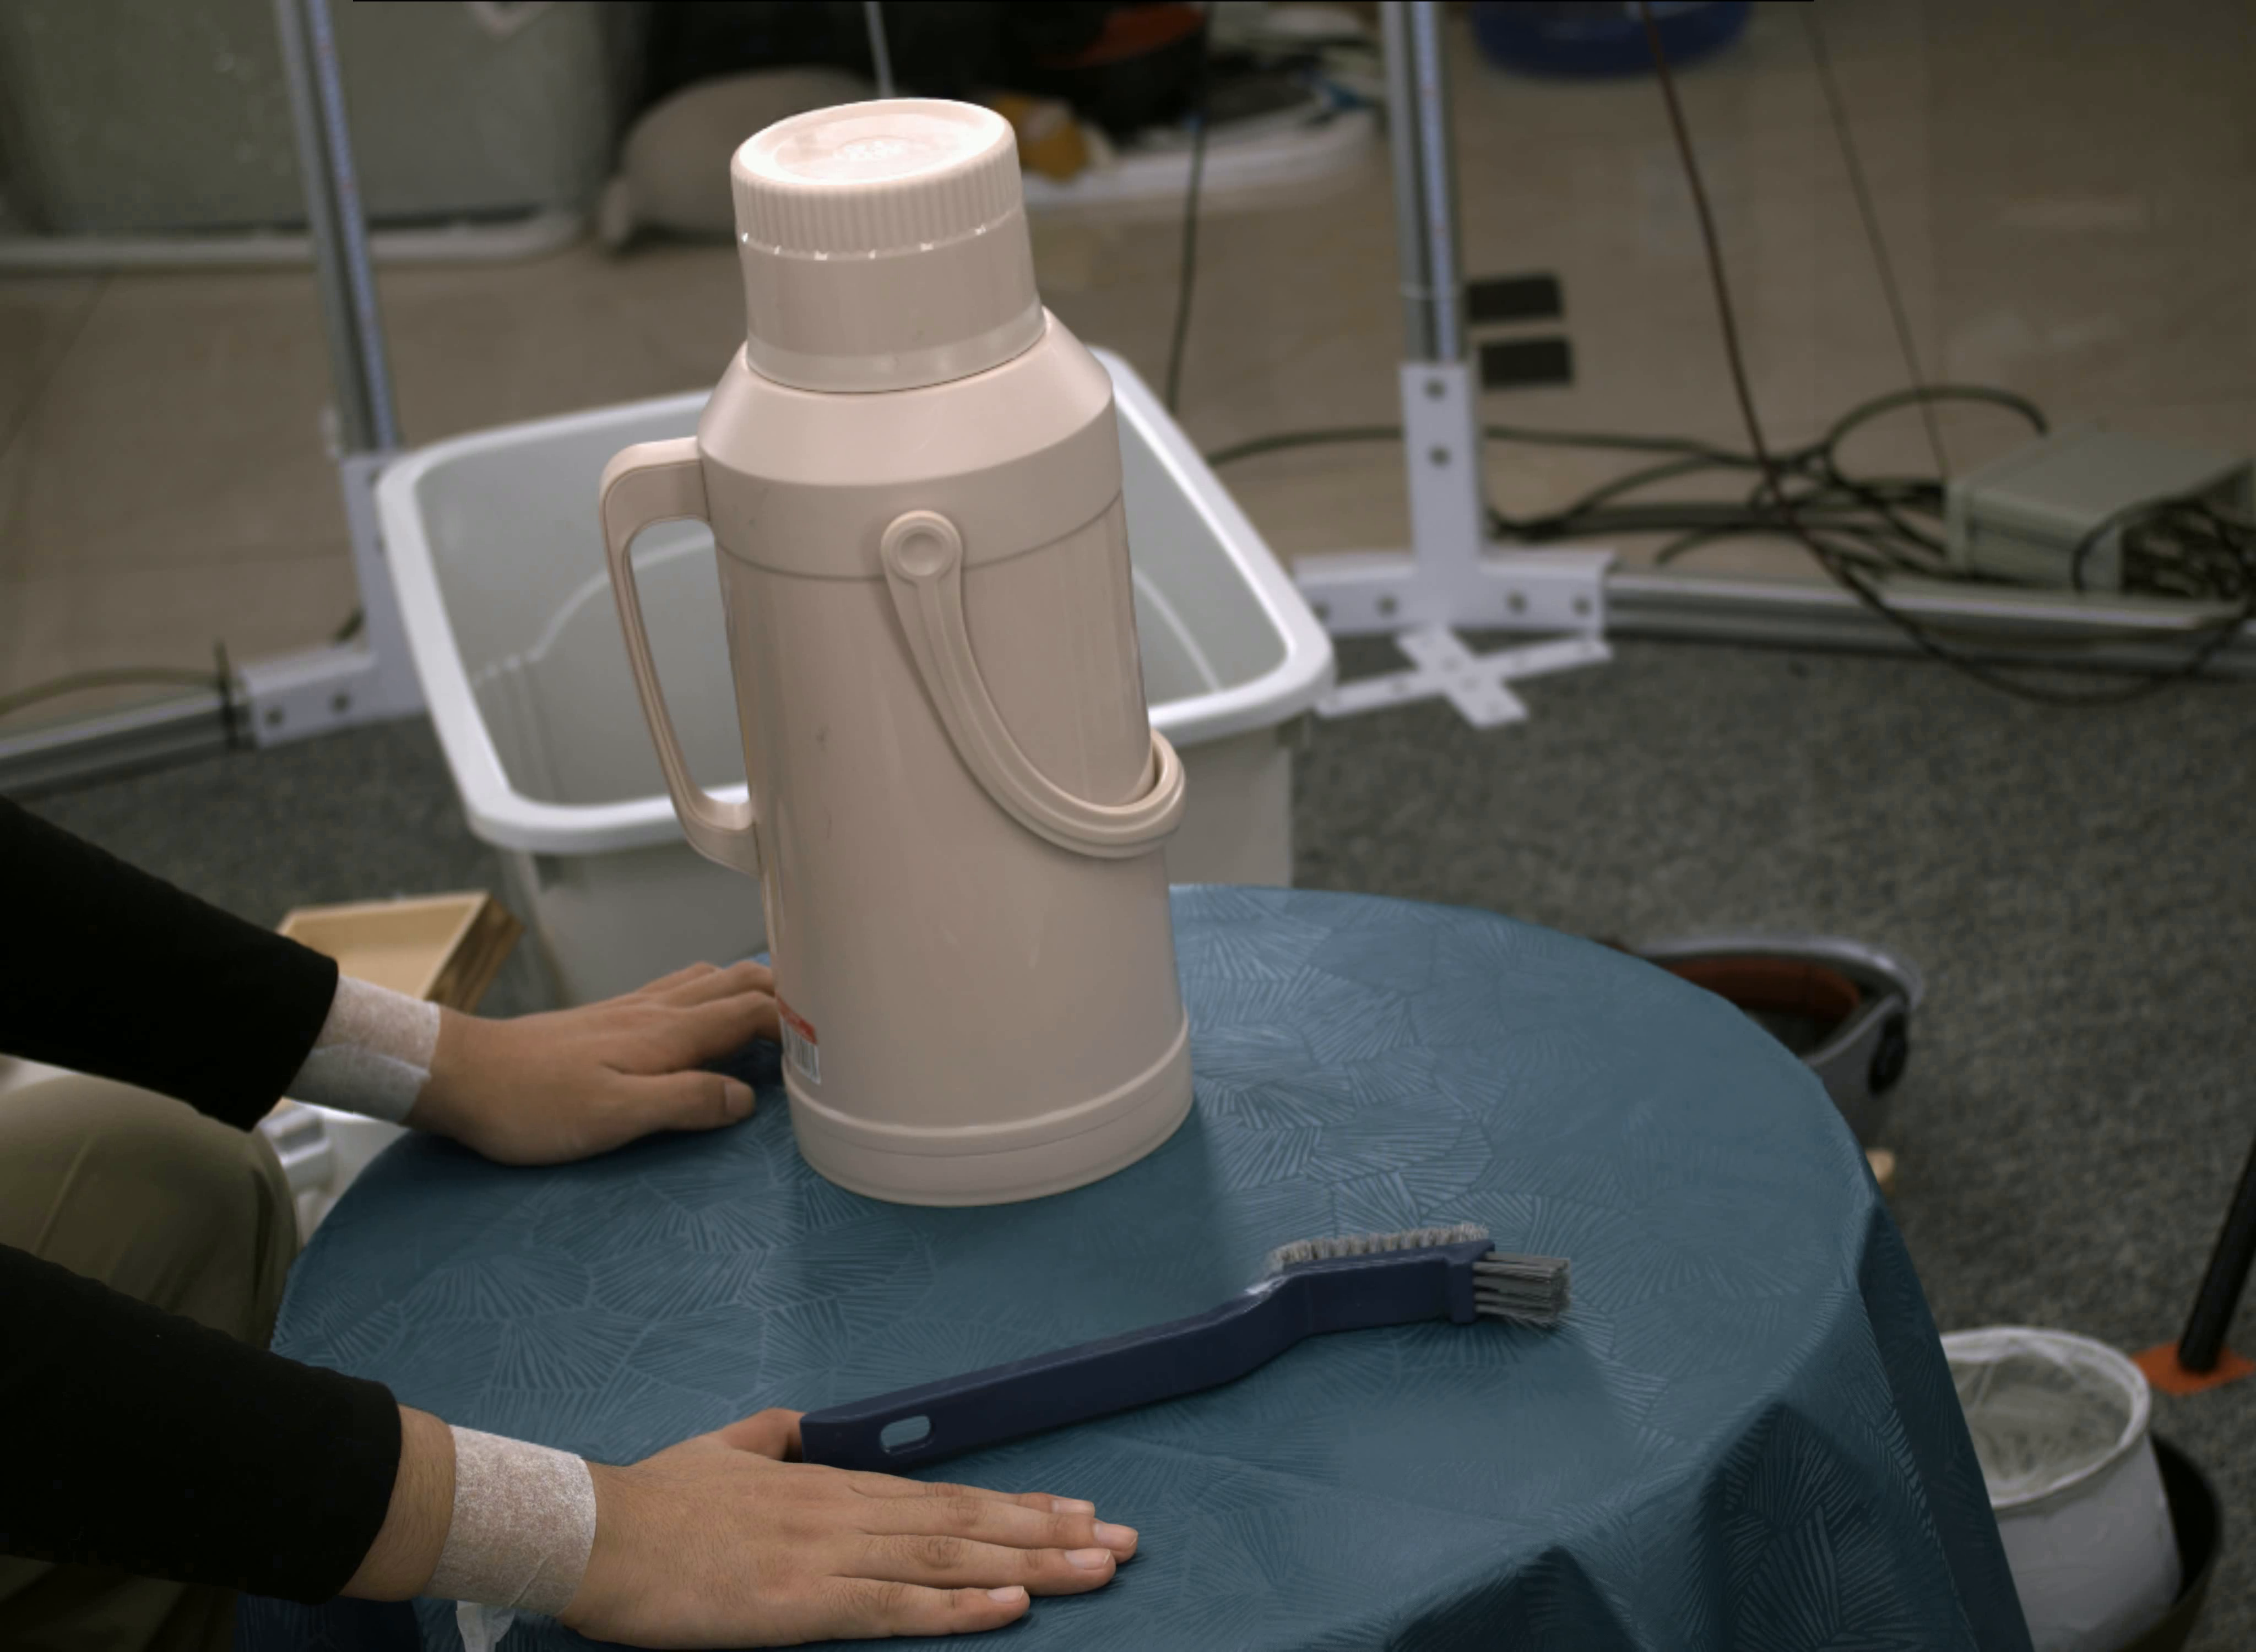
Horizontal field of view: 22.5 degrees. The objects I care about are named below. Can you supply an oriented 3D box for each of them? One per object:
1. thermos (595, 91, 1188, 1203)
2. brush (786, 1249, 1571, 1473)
[{"bbox_3d":[-0.088,-0.067,2.134,0.206,0.413,0.172,-7,27,-2],"label":"thermos"},{"bbox_3d":[0.017,0.188,1.998,0.272,0.034,0.094,-15,25,-22],"label":"brush"}]
